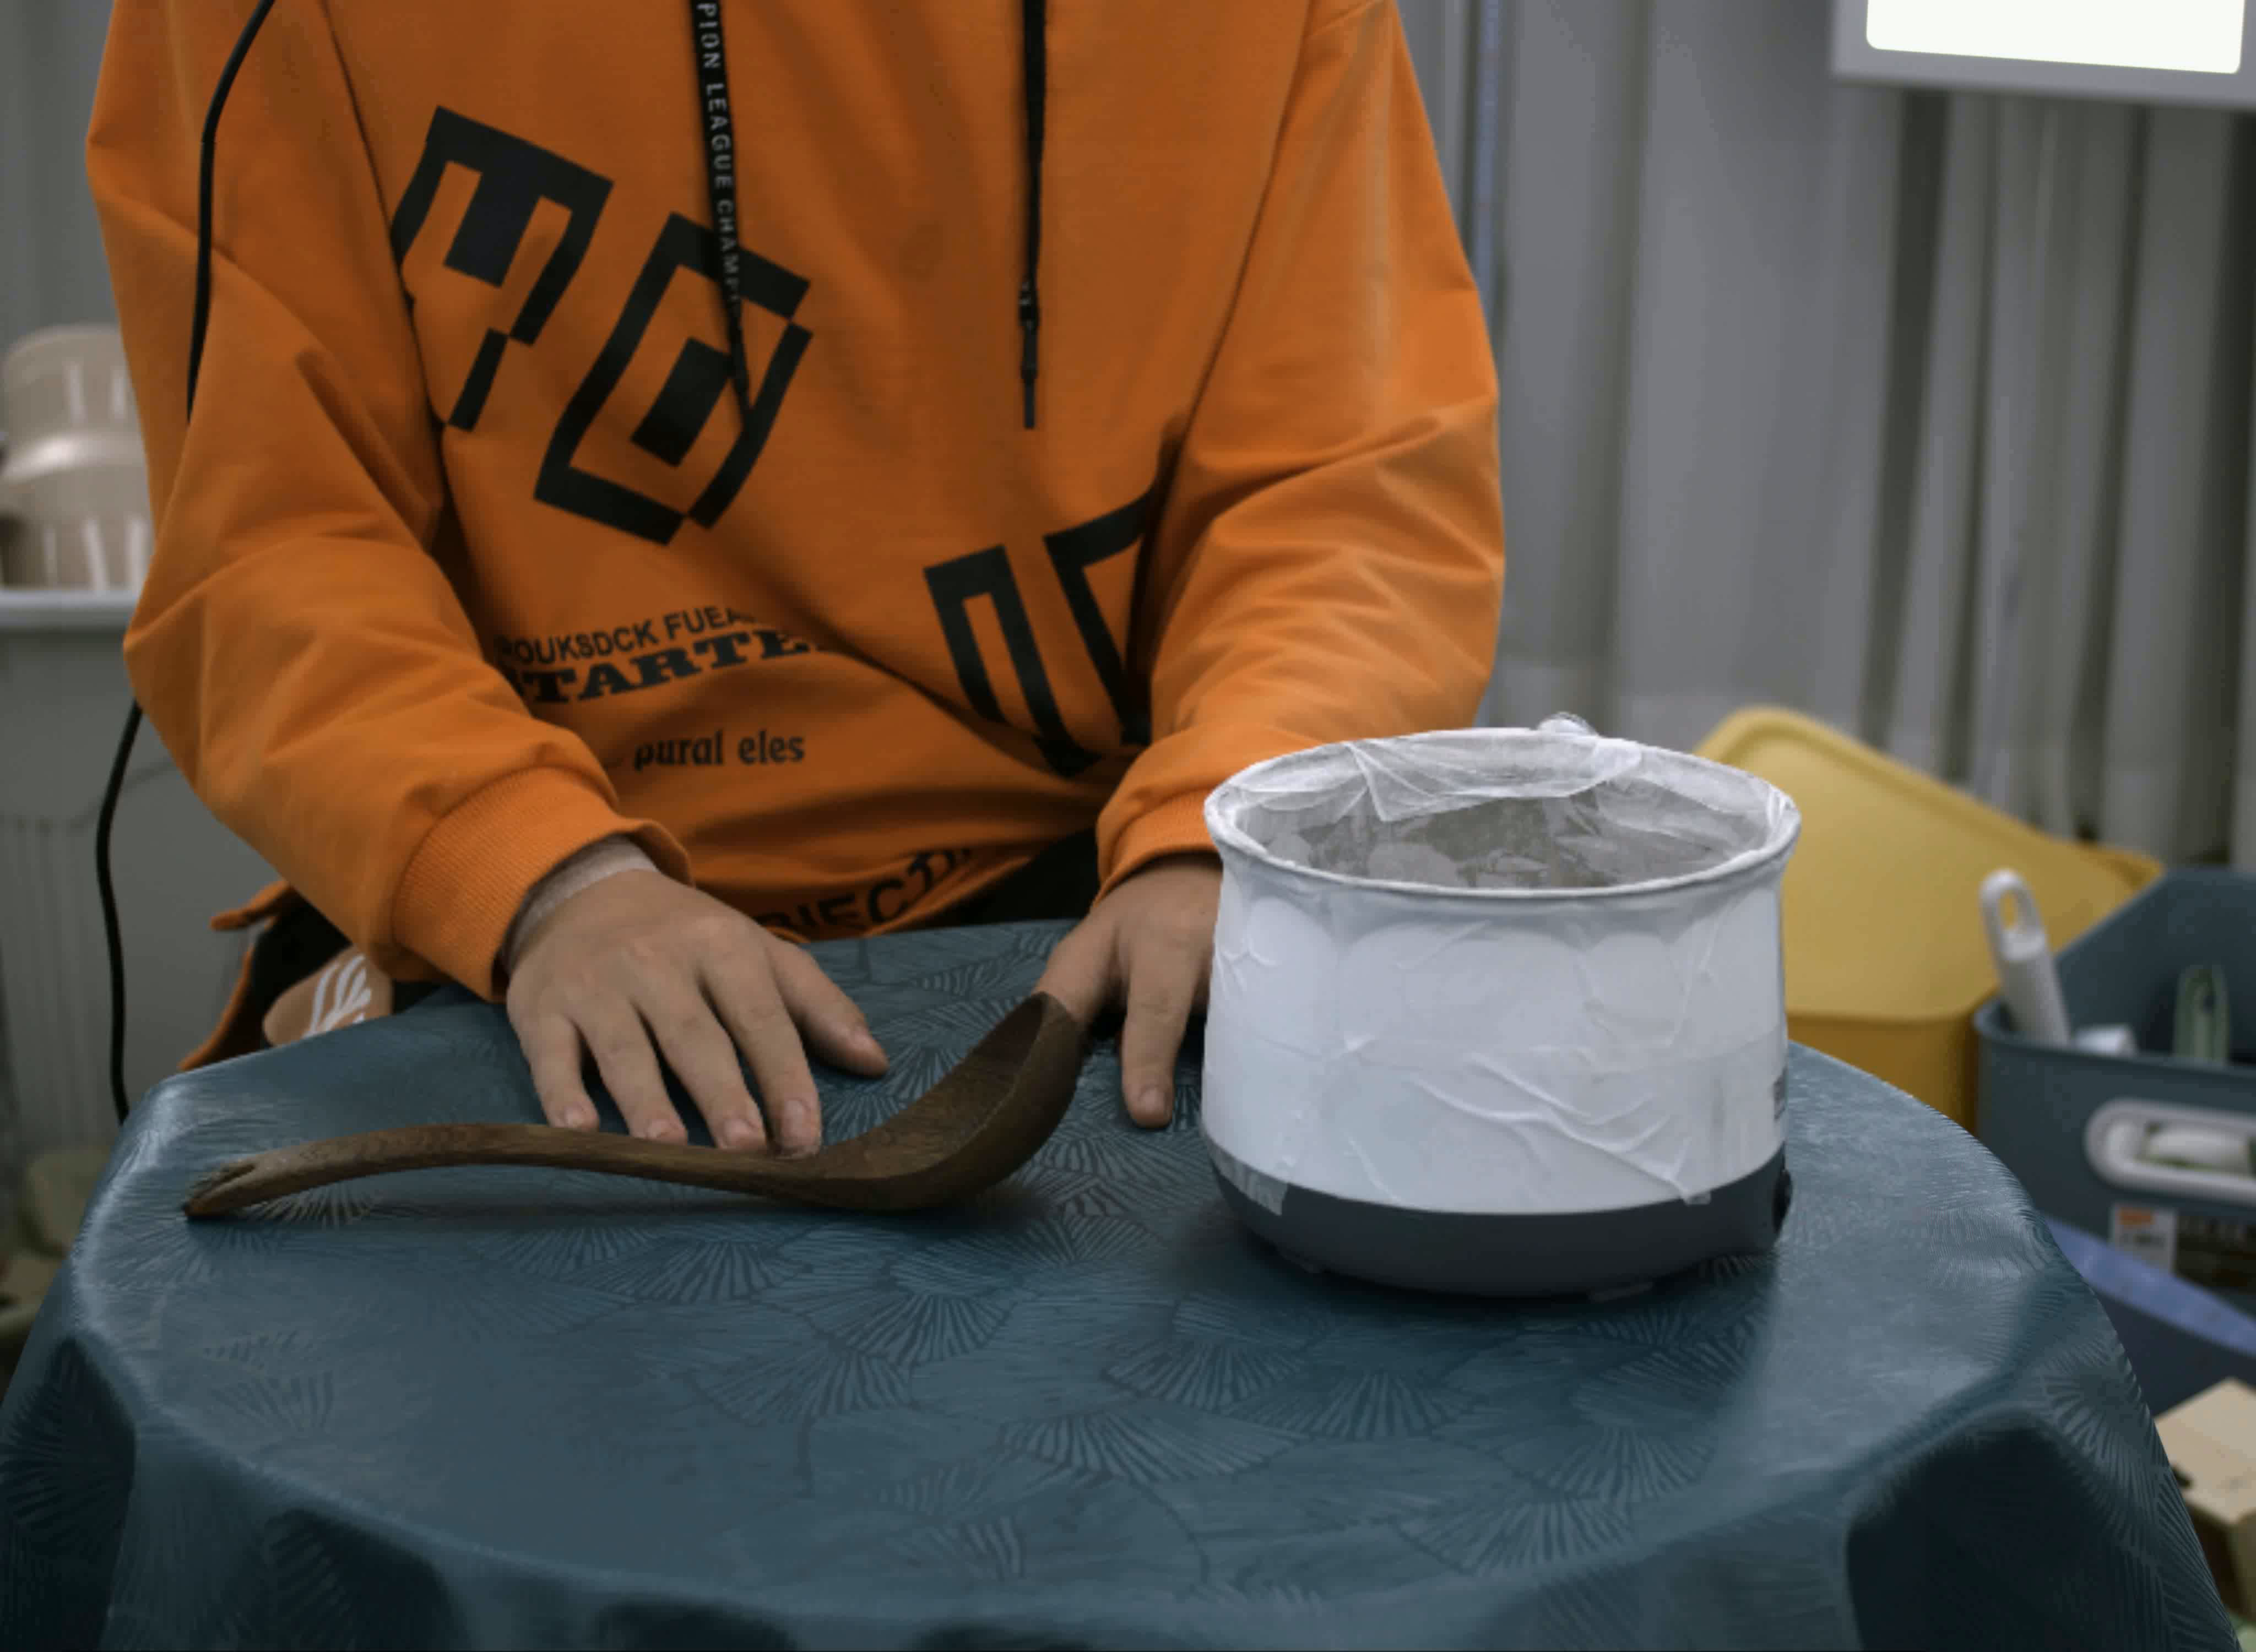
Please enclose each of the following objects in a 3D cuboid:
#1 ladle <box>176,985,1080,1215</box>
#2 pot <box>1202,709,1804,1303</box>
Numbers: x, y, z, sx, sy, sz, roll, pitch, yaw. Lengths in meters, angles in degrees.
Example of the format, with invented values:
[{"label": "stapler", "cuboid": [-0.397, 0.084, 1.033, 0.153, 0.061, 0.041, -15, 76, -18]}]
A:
[{"label": "ladle", "cuboid": [-0.151, 0.083, 1.594, 0.273, 0.072, 0.075, 0, 13, -3]}, {"label": "pot", "cuboid": [0.117, 0.048, 1.599, 0.177, 0.138, 0.233, 5, 17, 13]}]
